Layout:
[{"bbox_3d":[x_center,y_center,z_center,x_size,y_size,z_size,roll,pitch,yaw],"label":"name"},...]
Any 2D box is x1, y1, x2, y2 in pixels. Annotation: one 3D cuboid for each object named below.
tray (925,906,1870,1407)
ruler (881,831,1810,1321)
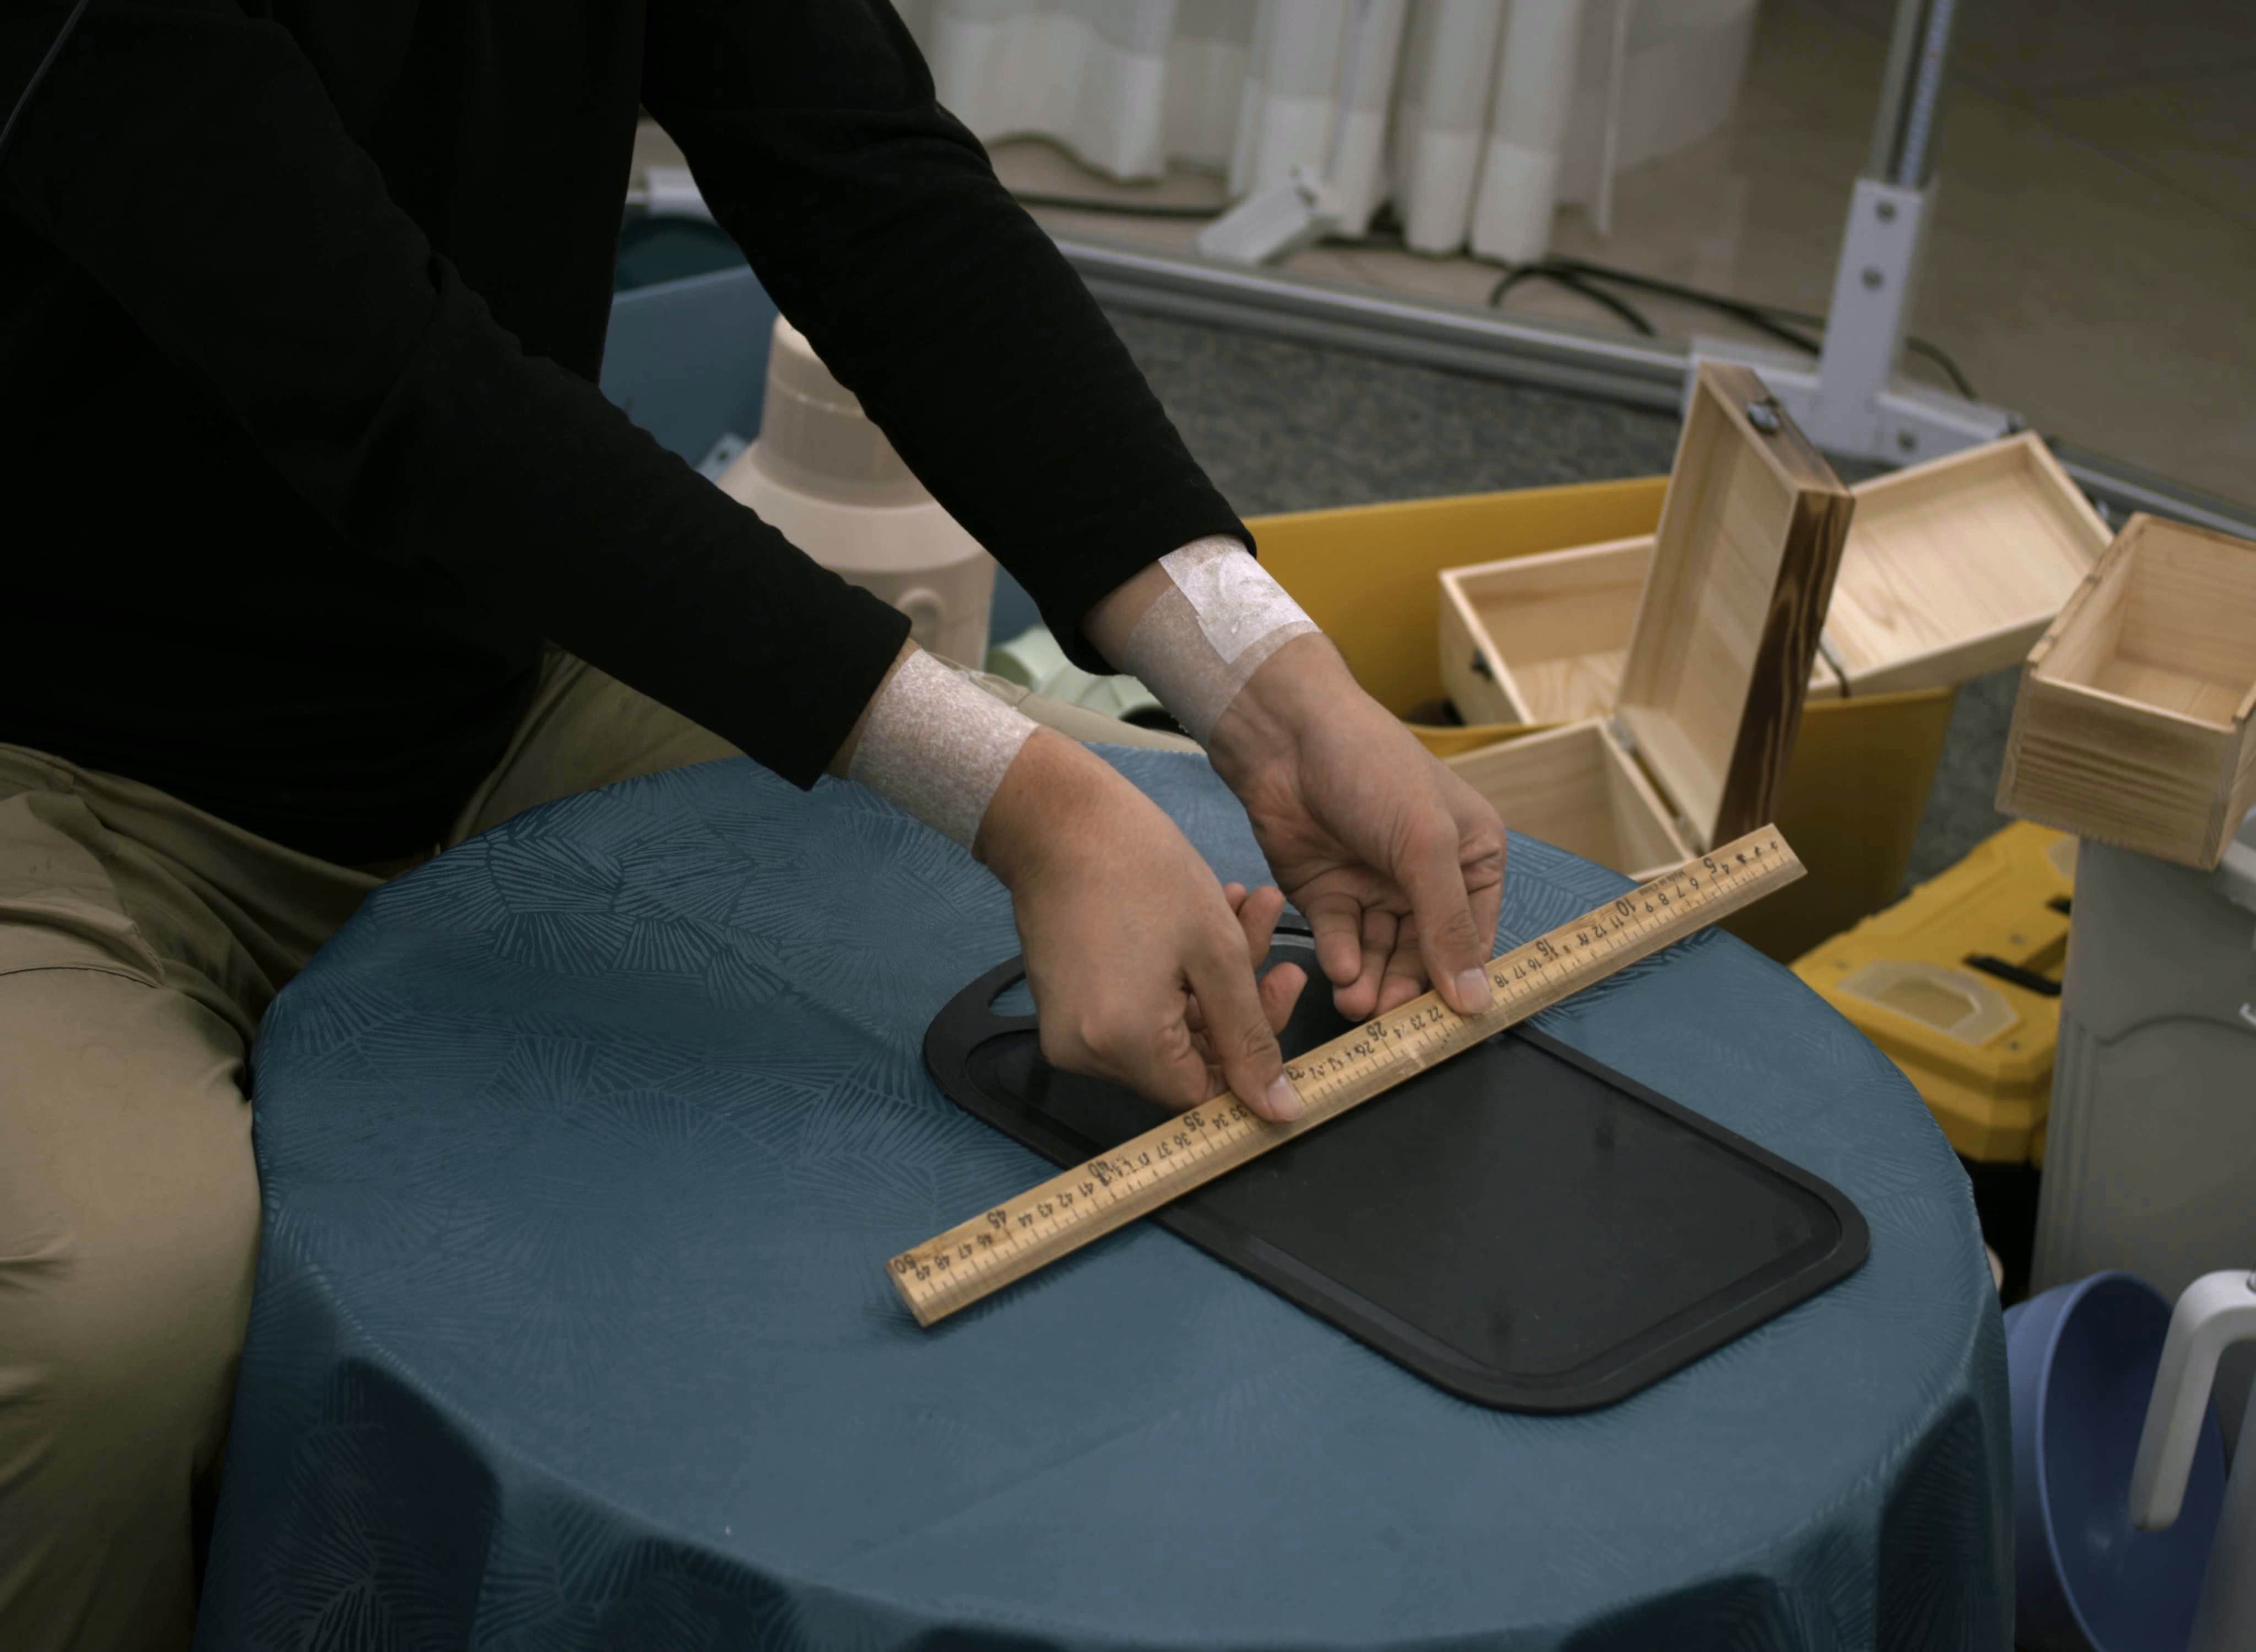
[{"bbox_3d":[0.085,0.105,1.849,0.328,0.010,0.210,28,34,36],"label":"tray"},{"bbox_3d":[0.091,0.080,1.882,0.498,0.006,0.027,-23,71,-44],"label":"ruler"}]
